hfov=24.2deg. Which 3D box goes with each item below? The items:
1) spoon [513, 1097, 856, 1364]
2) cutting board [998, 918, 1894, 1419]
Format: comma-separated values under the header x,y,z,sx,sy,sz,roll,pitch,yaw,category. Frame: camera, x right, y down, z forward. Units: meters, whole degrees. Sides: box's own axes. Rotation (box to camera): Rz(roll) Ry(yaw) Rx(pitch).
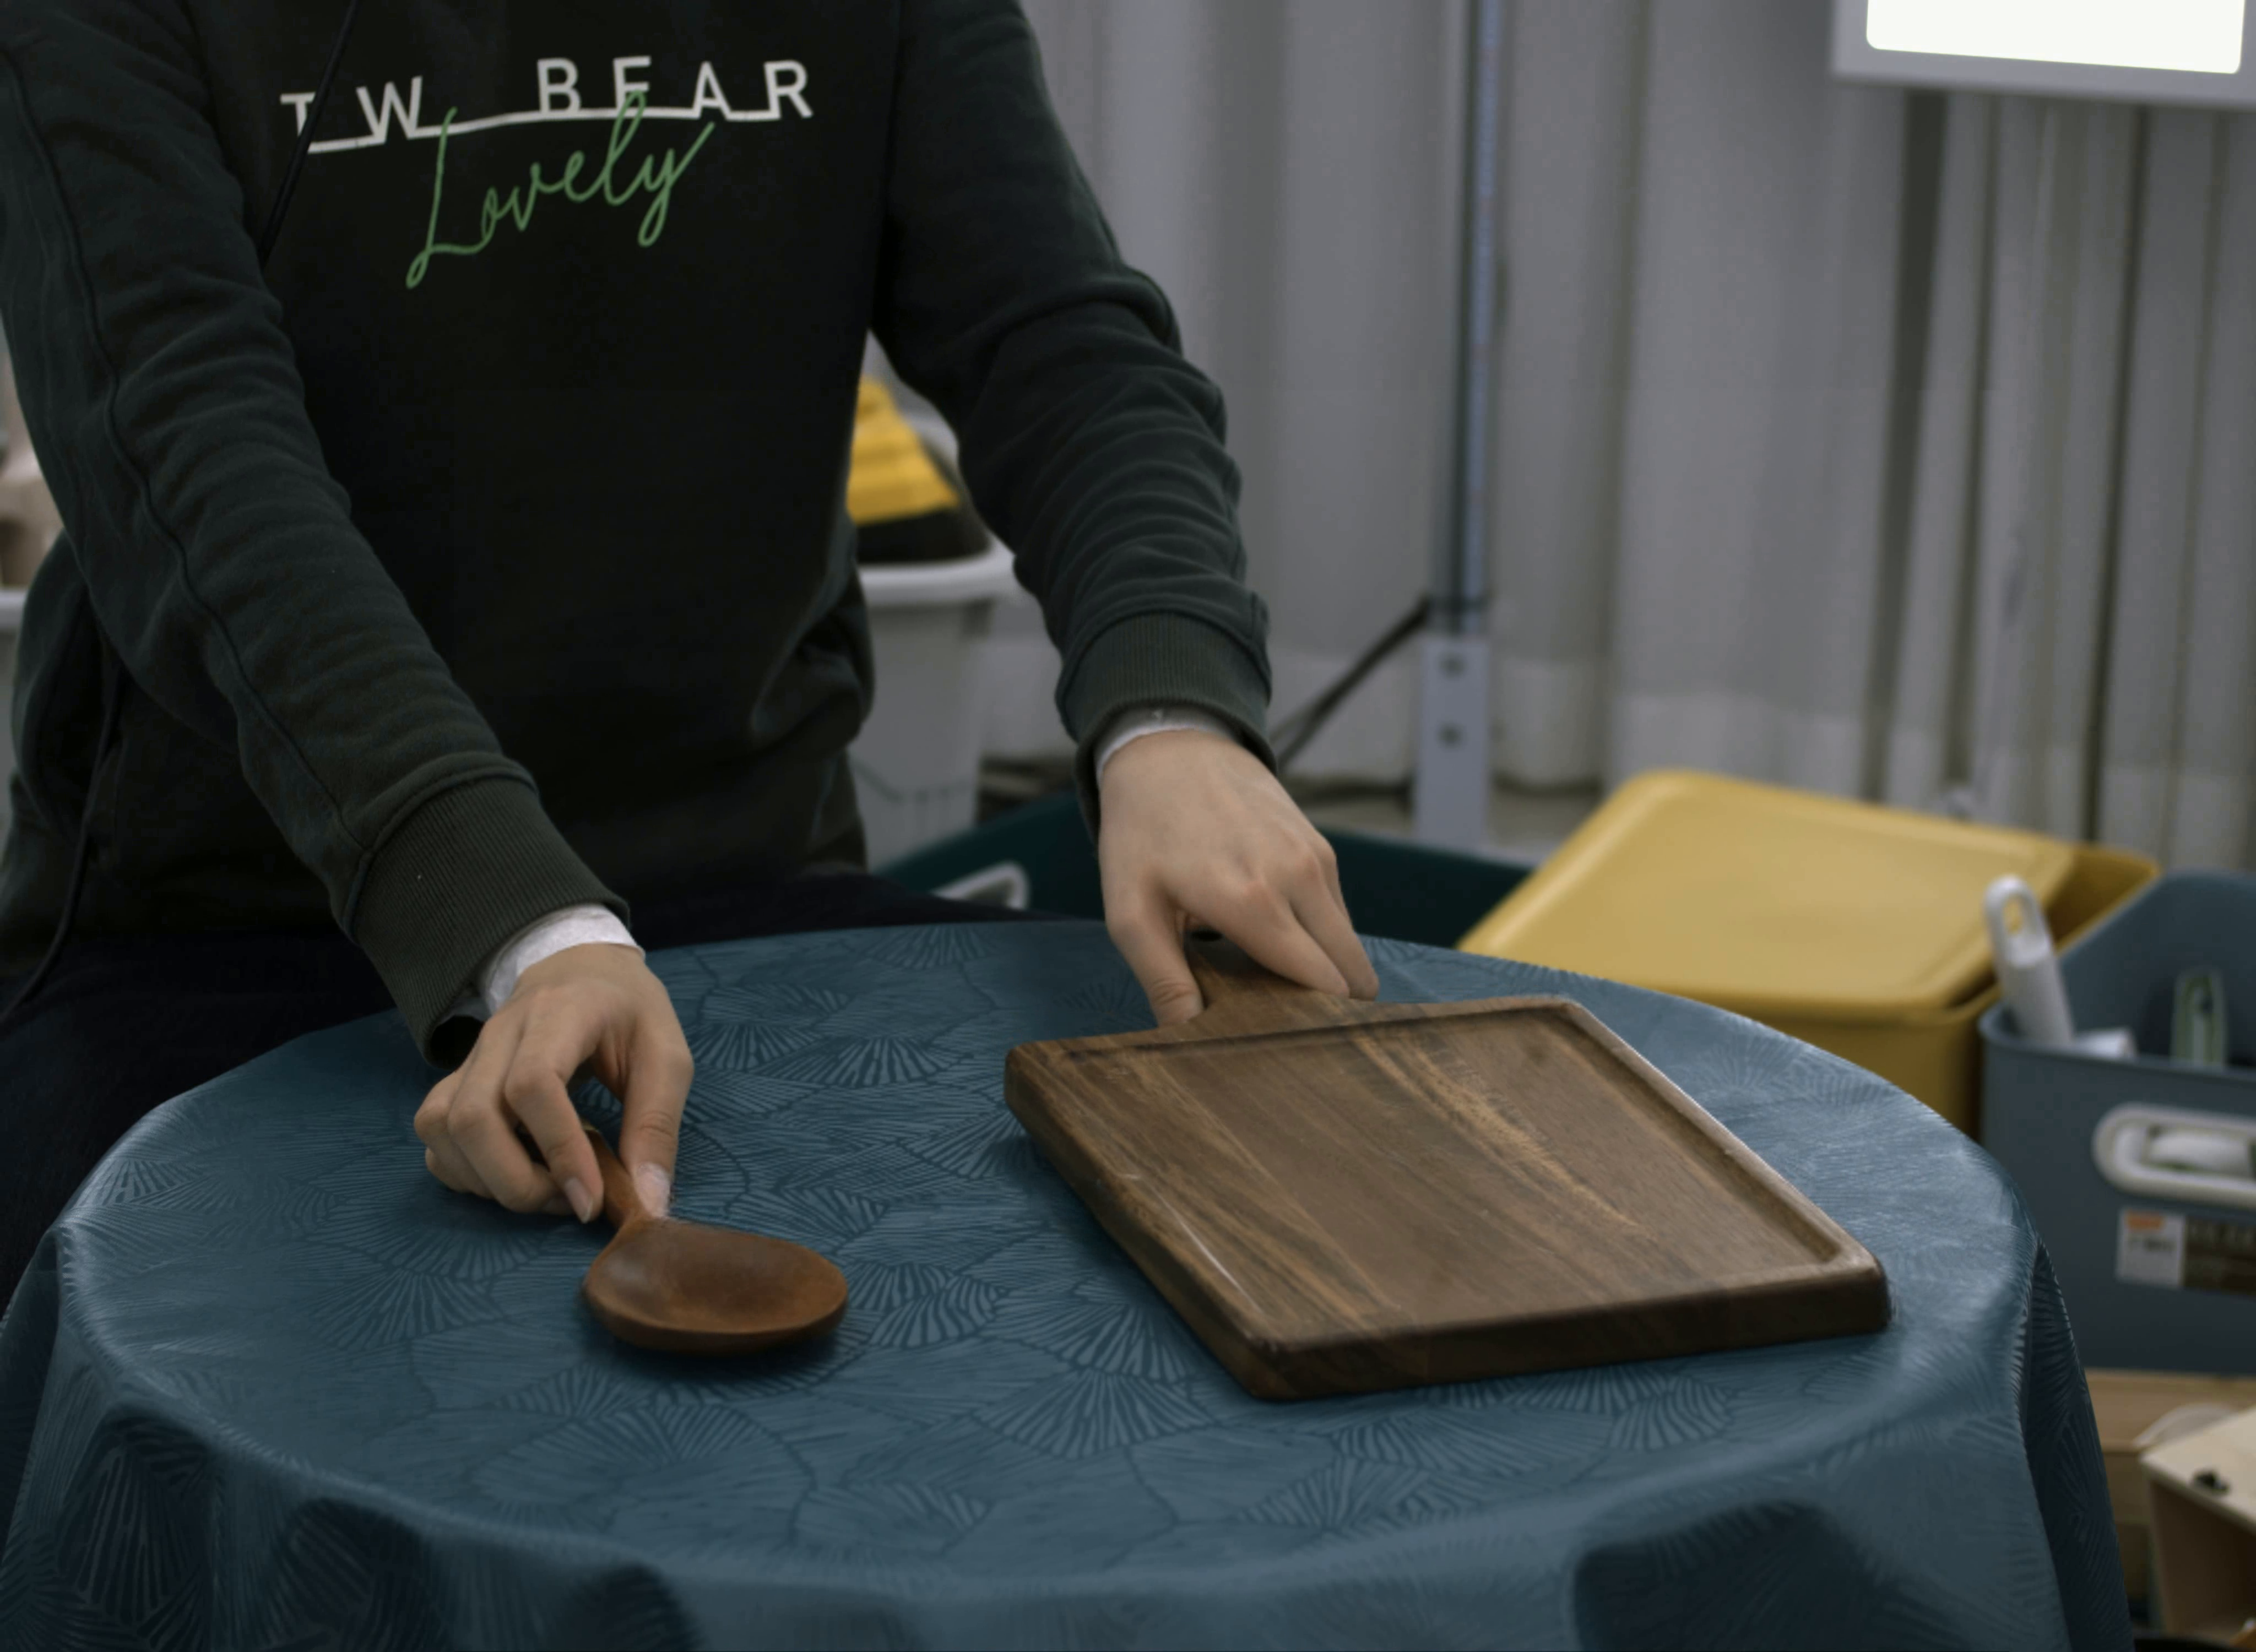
x,y,z,sx,sy,sz,roll,pitch,yaw,category
-0.141,0.120,1.560,0.076,0.017,0.213,-8,19,-22,spoon
0.075,0.094,1.636,0.201,0.023,0.348,-6,20,-18,cutting board
